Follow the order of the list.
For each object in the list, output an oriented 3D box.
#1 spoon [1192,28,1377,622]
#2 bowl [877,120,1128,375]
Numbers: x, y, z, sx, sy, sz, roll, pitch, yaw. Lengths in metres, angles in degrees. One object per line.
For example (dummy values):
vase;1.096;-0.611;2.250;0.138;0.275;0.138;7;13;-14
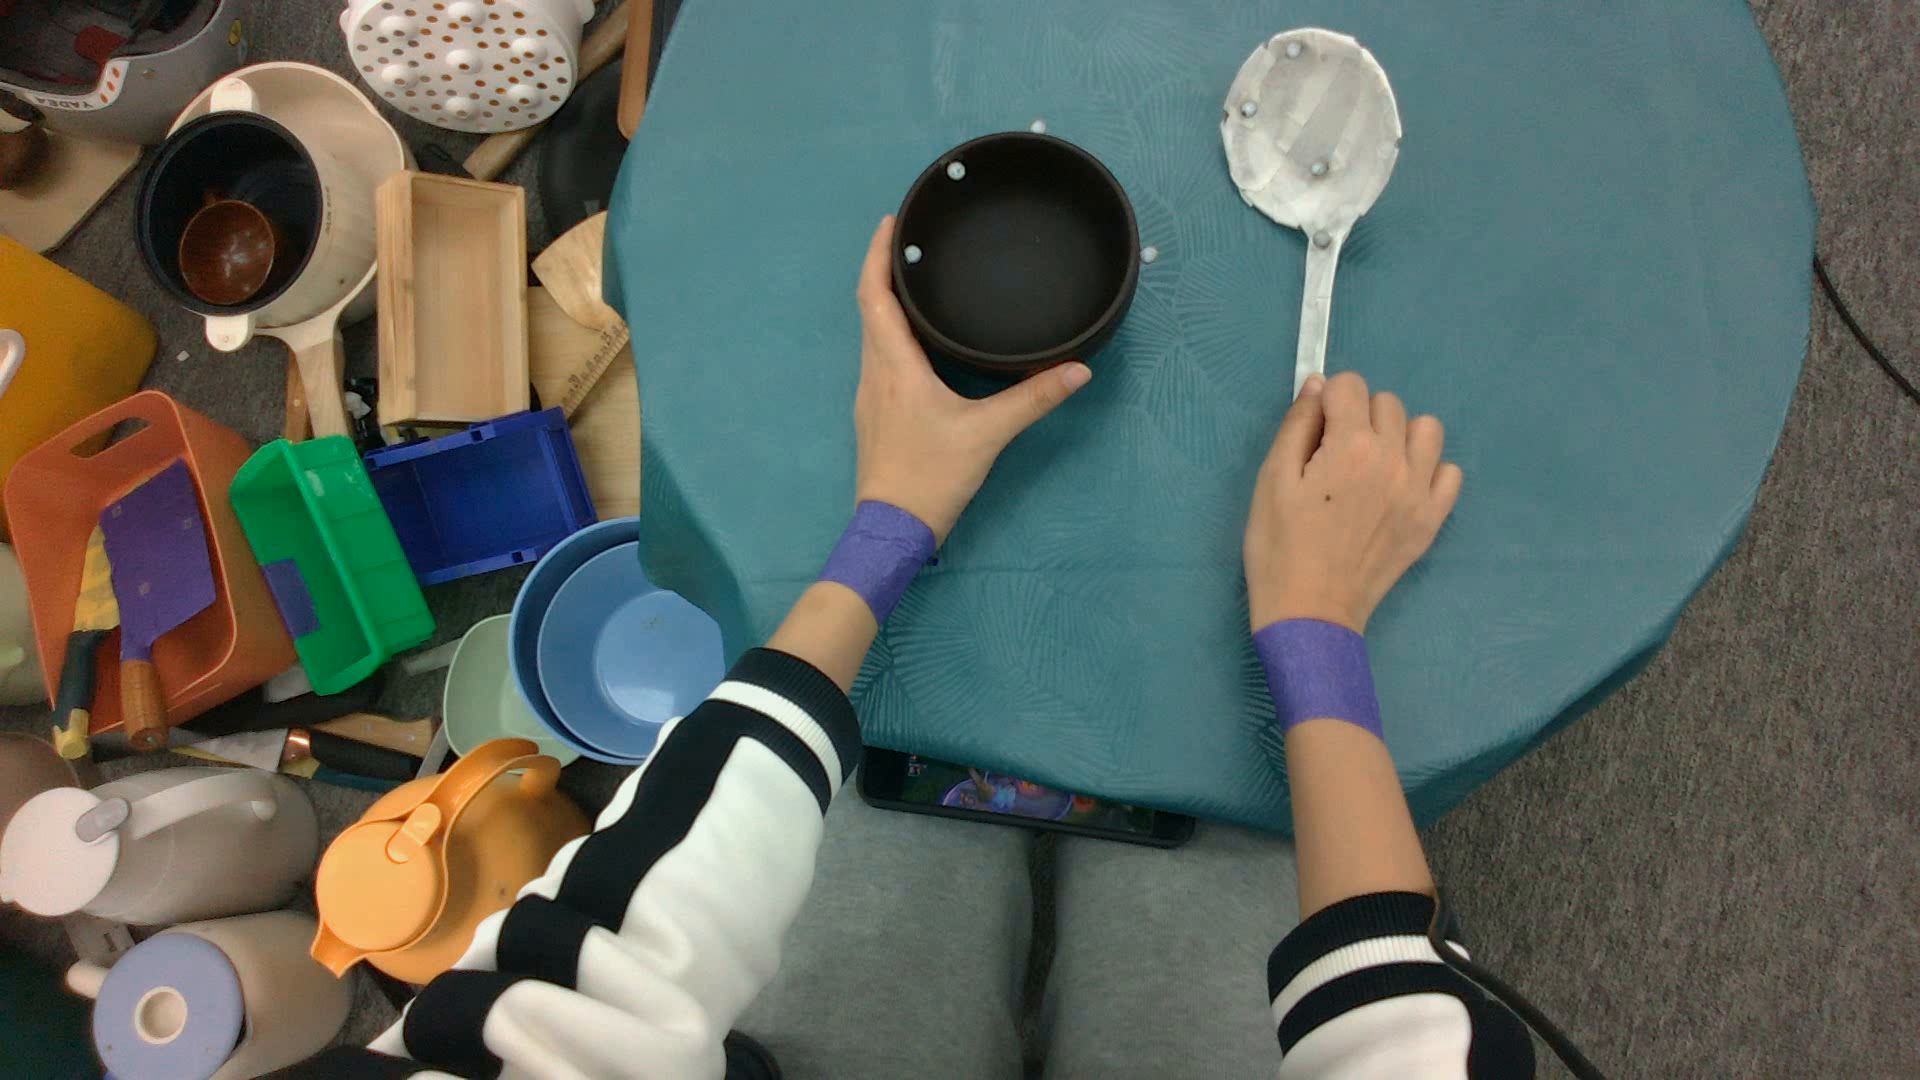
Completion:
spoon;0.142;-0.102;0.661;0.100;0.059;0.277;3;82;49
bowl;0.022;-0.135;0.667;0.118;0.070;0.118;-1;79;4
